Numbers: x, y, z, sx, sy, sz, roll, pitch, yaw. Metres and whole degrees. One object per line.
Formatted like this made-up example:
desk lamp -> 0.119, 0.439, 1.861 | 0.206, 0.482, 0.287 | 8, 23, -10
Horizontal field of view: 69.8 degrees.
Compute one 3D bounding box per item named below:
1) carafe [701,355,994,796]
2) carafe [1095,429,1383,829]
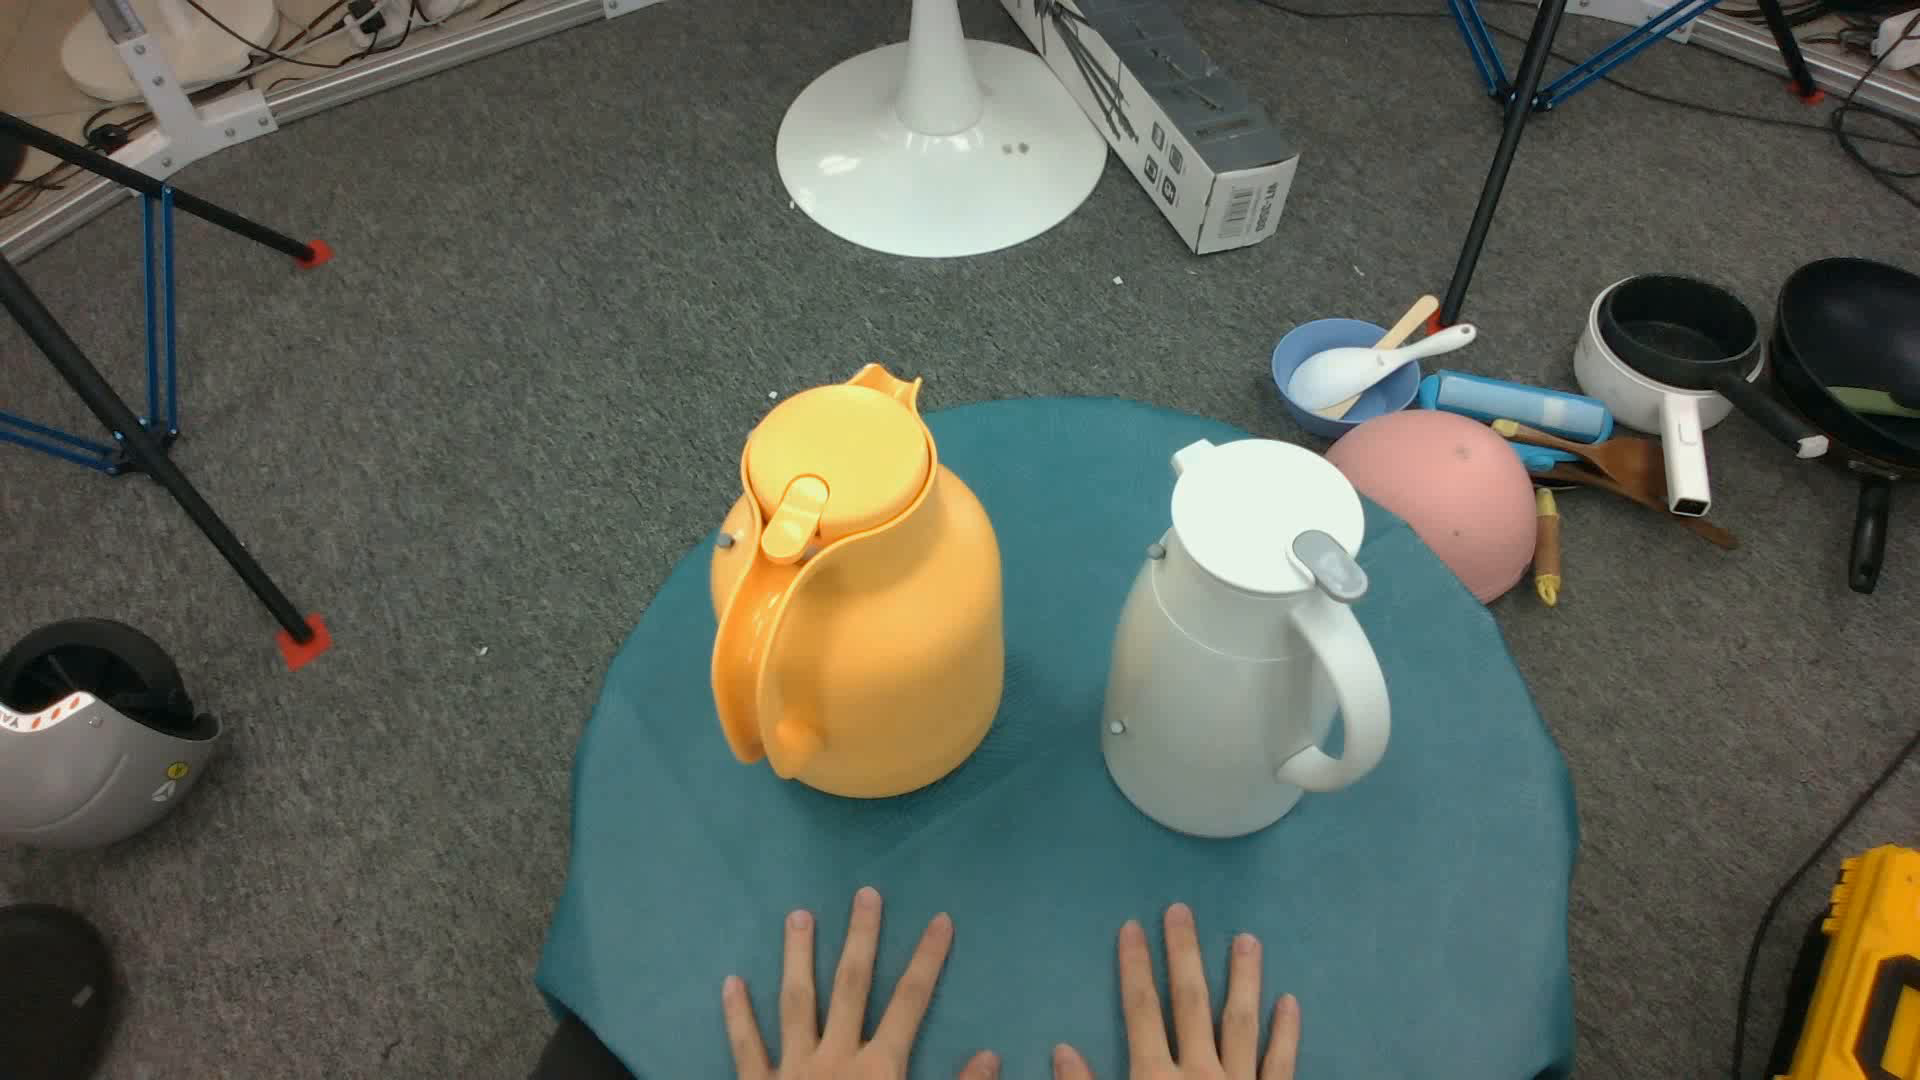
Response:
carafe -> -0.071, 0.038, 0.759 | 0.163, 0.259, 0.203 | 19, 56, 16
carafe -> 0.157, 0.061, 0.746 | 0.133, 0.247, 0.168 | -27, 59, -17
